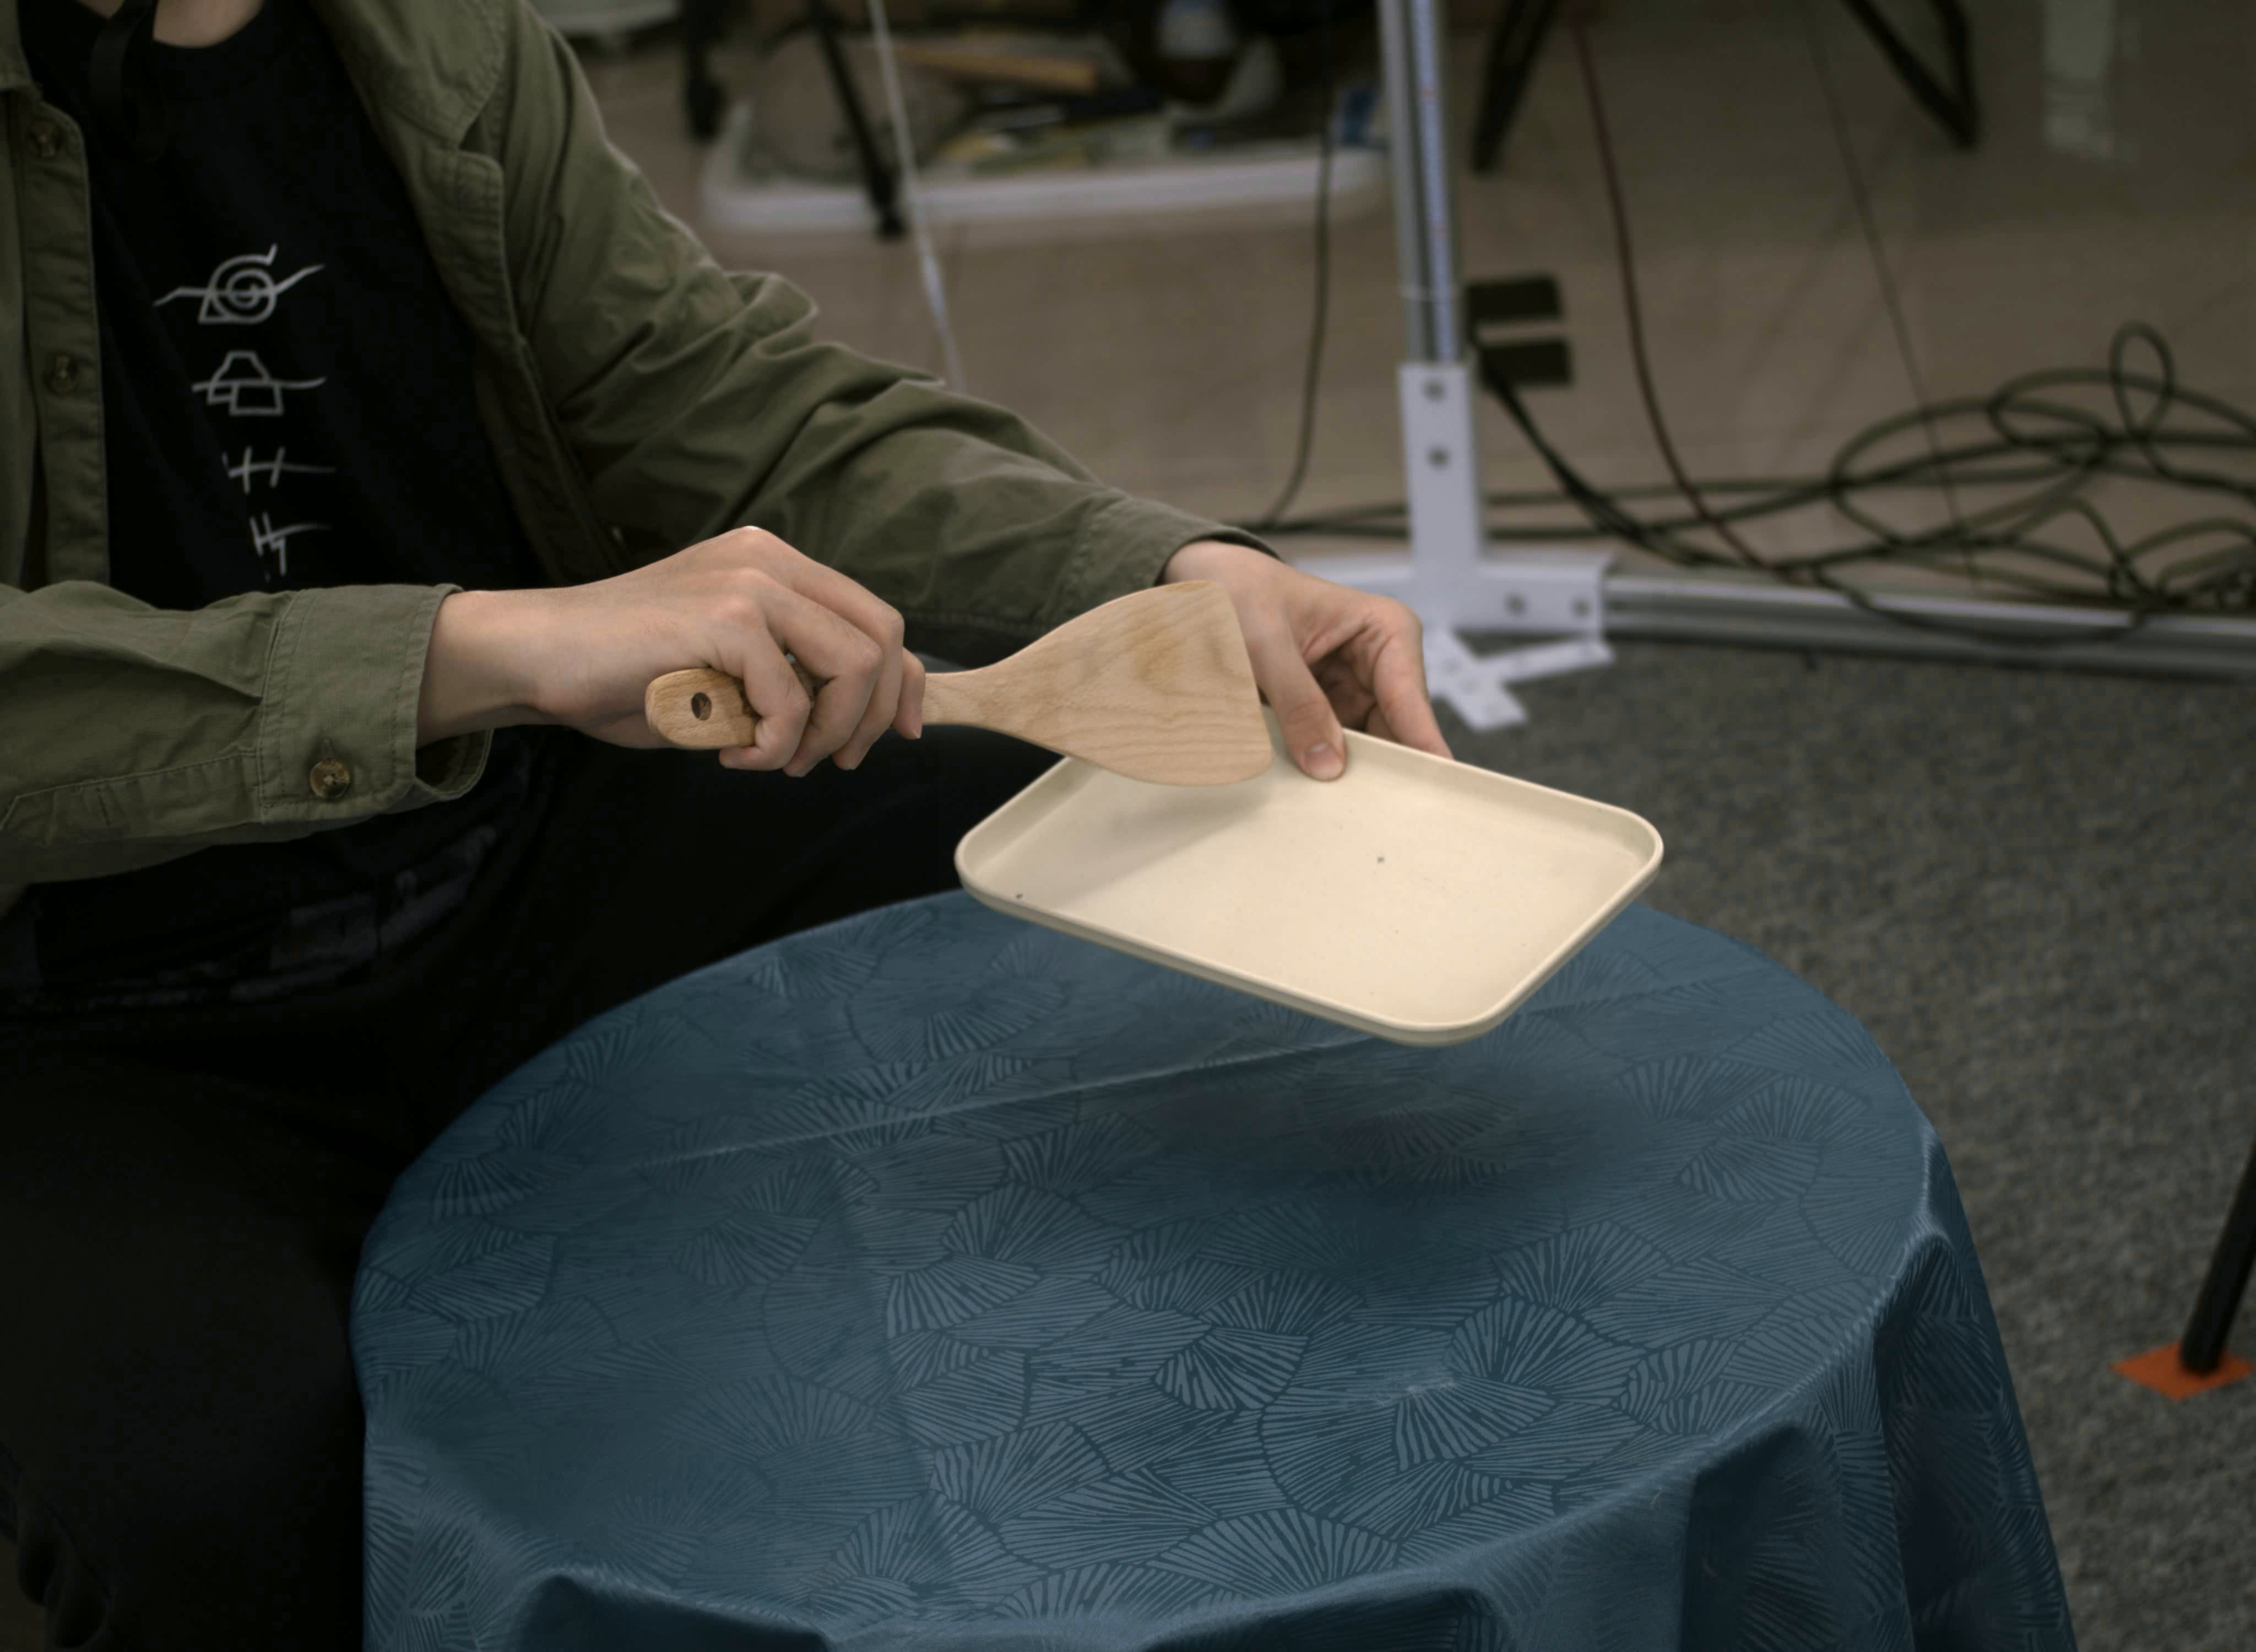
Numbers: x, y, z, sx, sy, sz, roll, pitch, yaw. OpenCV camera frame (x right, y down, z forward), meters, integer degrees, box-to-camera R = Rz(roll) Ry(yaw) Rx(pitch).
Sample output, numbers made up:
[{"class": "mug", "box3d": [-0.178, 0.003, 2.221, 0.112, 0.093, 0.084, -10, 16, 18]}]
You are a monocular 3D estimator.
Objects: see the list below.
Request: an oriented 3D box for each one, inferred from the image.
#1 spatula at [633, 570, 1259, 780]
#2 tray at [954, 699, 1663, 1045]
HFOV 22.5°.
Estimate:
[{"class": "spatula", "box3d": [-0.062, -0.049, 2.056, 0.016, 0.080, 0.327, -7, 0, 39]}, {"class": "tray", "box3d": [0.067, 0.015, 2.137, 0.238, 0.018, 0.169, 18, 37, 30]}]
